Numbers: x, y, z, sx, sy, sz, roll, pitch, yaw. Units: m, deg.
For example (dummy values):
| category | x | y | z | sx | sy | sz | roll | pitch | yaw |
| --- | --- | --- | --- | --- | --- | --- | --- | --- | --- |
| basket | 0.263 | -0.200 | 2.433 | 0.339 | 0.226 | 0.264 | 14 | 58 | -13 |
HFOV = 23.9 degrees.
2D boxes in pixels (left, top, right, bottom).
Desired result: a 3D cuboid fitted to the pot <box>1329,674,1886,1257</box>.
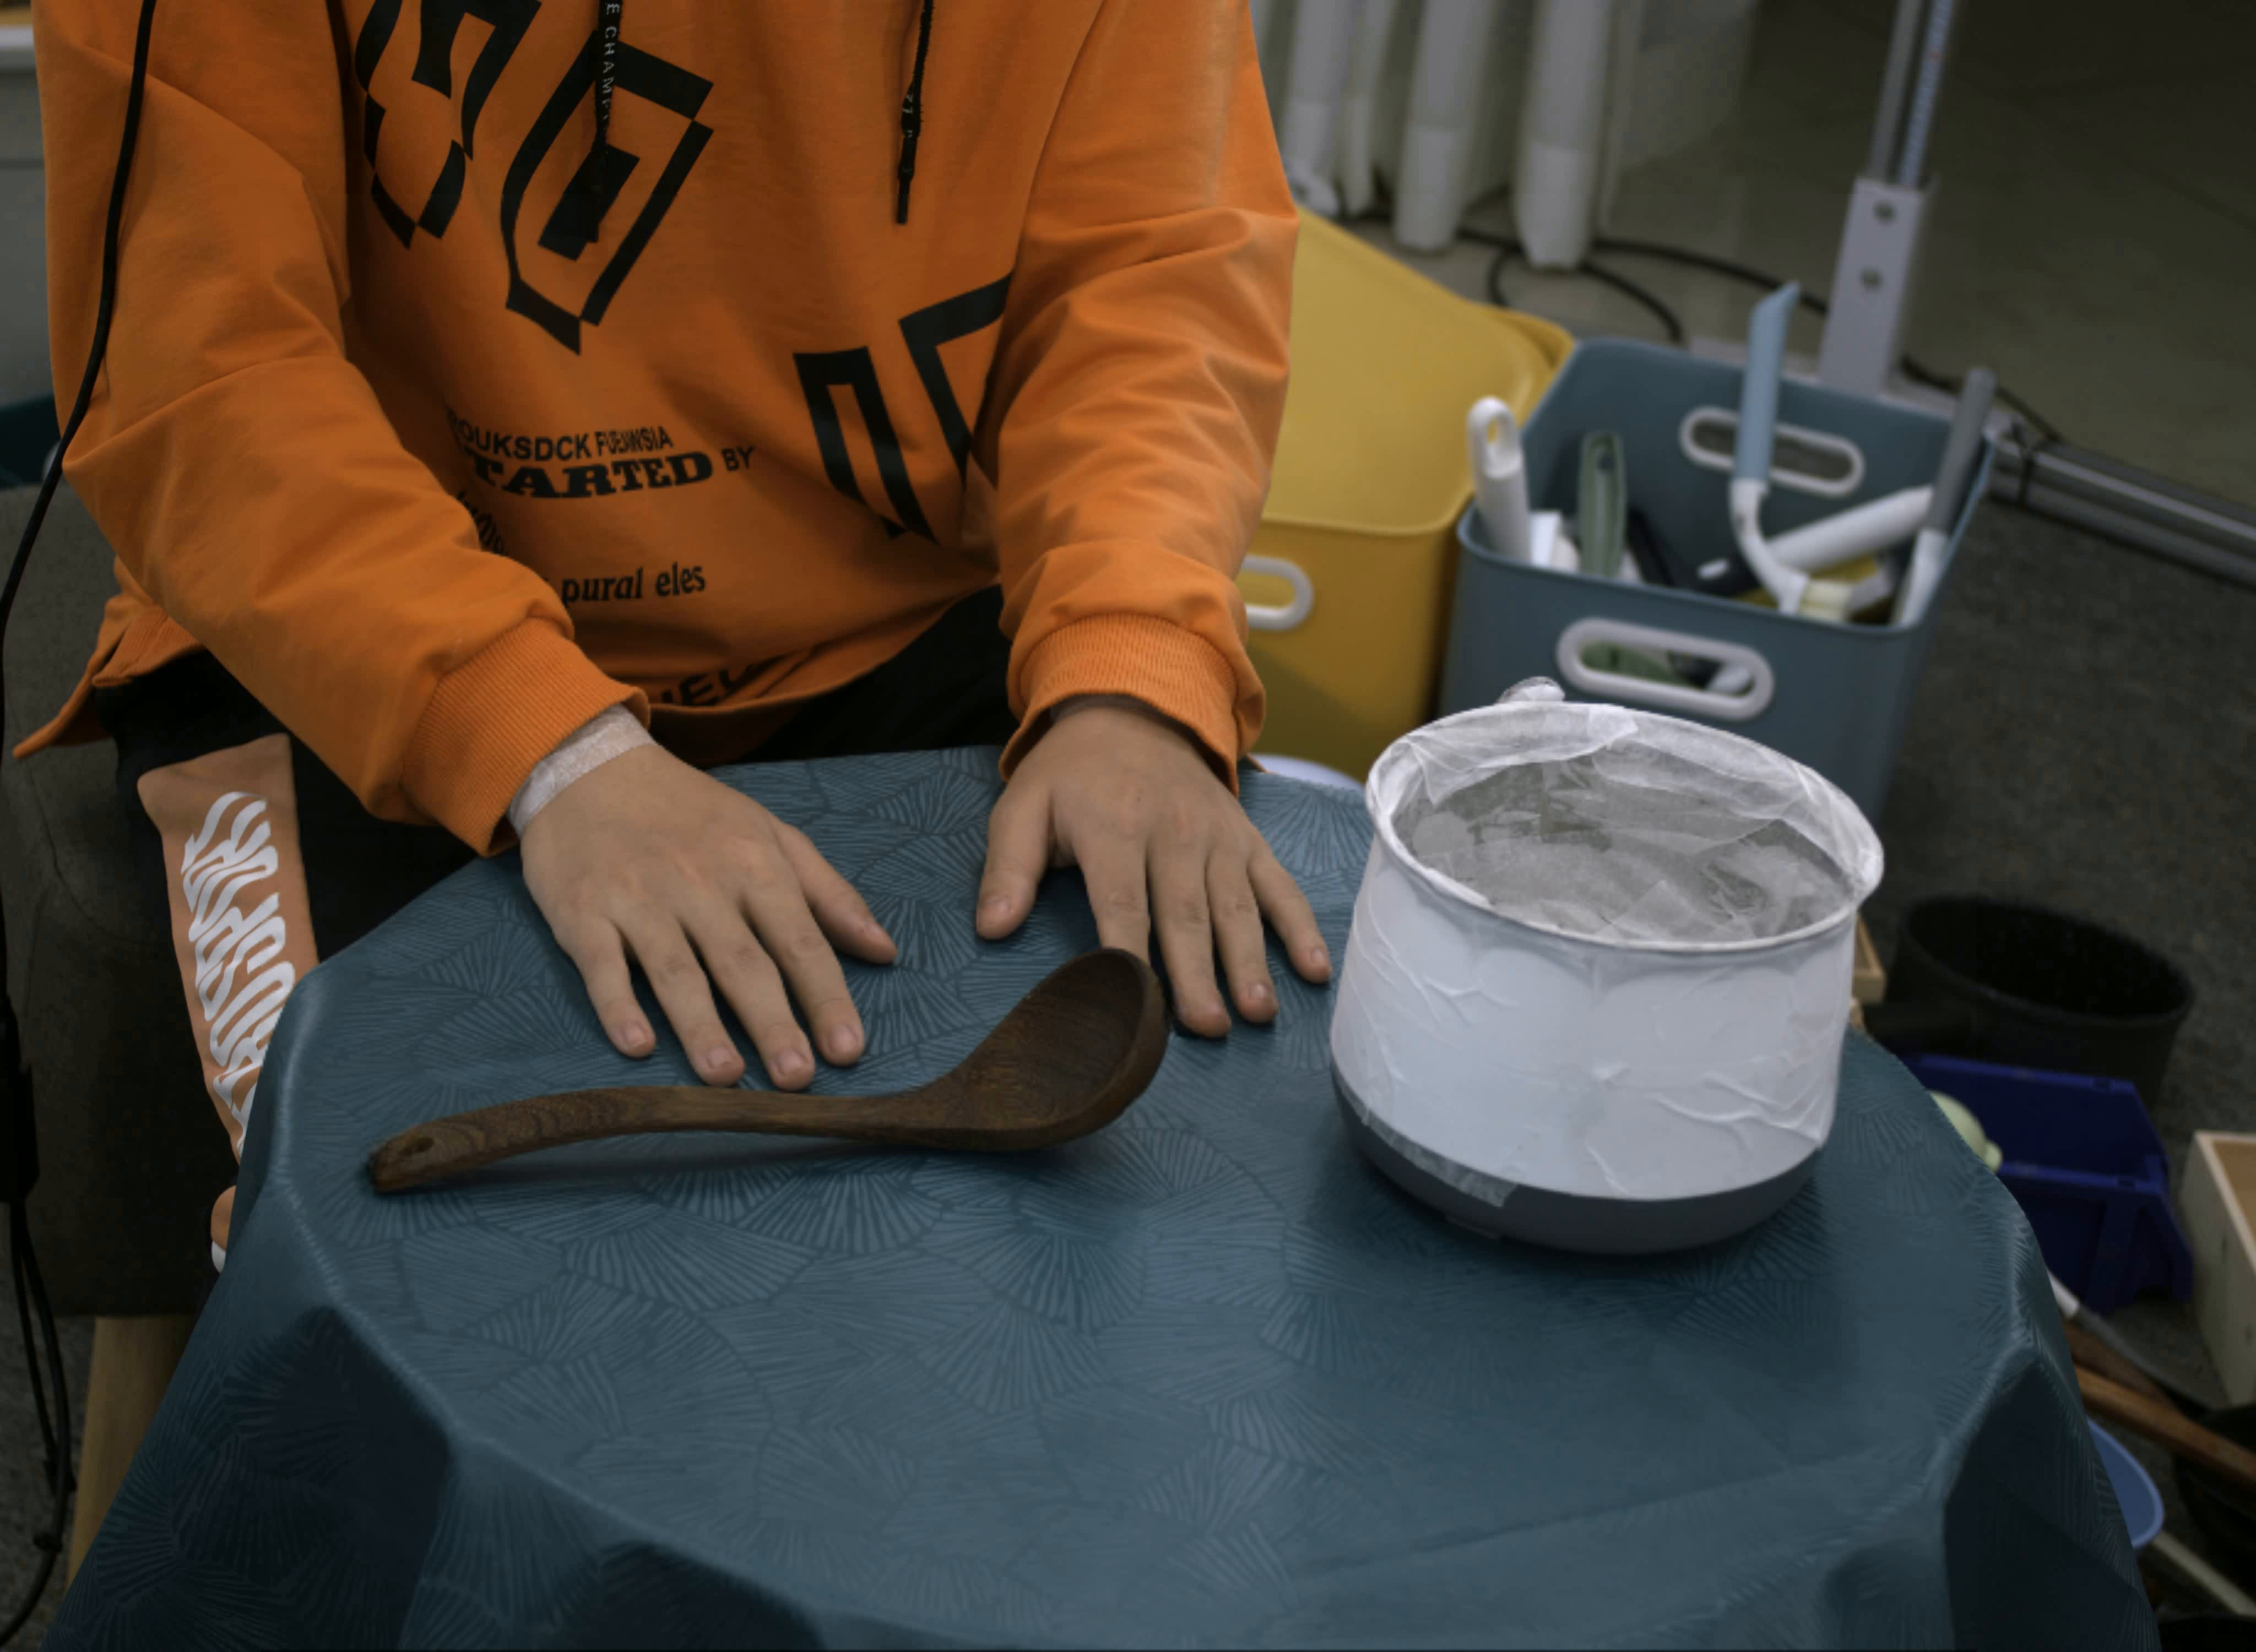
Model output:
| category | x | y | z | sx | sy | sz | roll | pitch | yaw |
| --- | --- | --- | --- | --- | --- | --- | --- | --- | --- |
| pot | 0.154 | 0.041 | 1.848 | 0.177 | 0.136 | 0.236 | -1 | 28 | -15 |

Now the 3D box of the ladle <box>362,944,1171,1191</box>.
| category | x | y | z | sx | sy | sz | roll | pitch | yaw |
| --- | --- | --- | --- | --- | --- | --- | --- | --- | --- |
| ladle | -0.119 | 0.081 | 1.783 | 0.272 | 0.071 | 0.076 | -2 | 26 | -18 |
